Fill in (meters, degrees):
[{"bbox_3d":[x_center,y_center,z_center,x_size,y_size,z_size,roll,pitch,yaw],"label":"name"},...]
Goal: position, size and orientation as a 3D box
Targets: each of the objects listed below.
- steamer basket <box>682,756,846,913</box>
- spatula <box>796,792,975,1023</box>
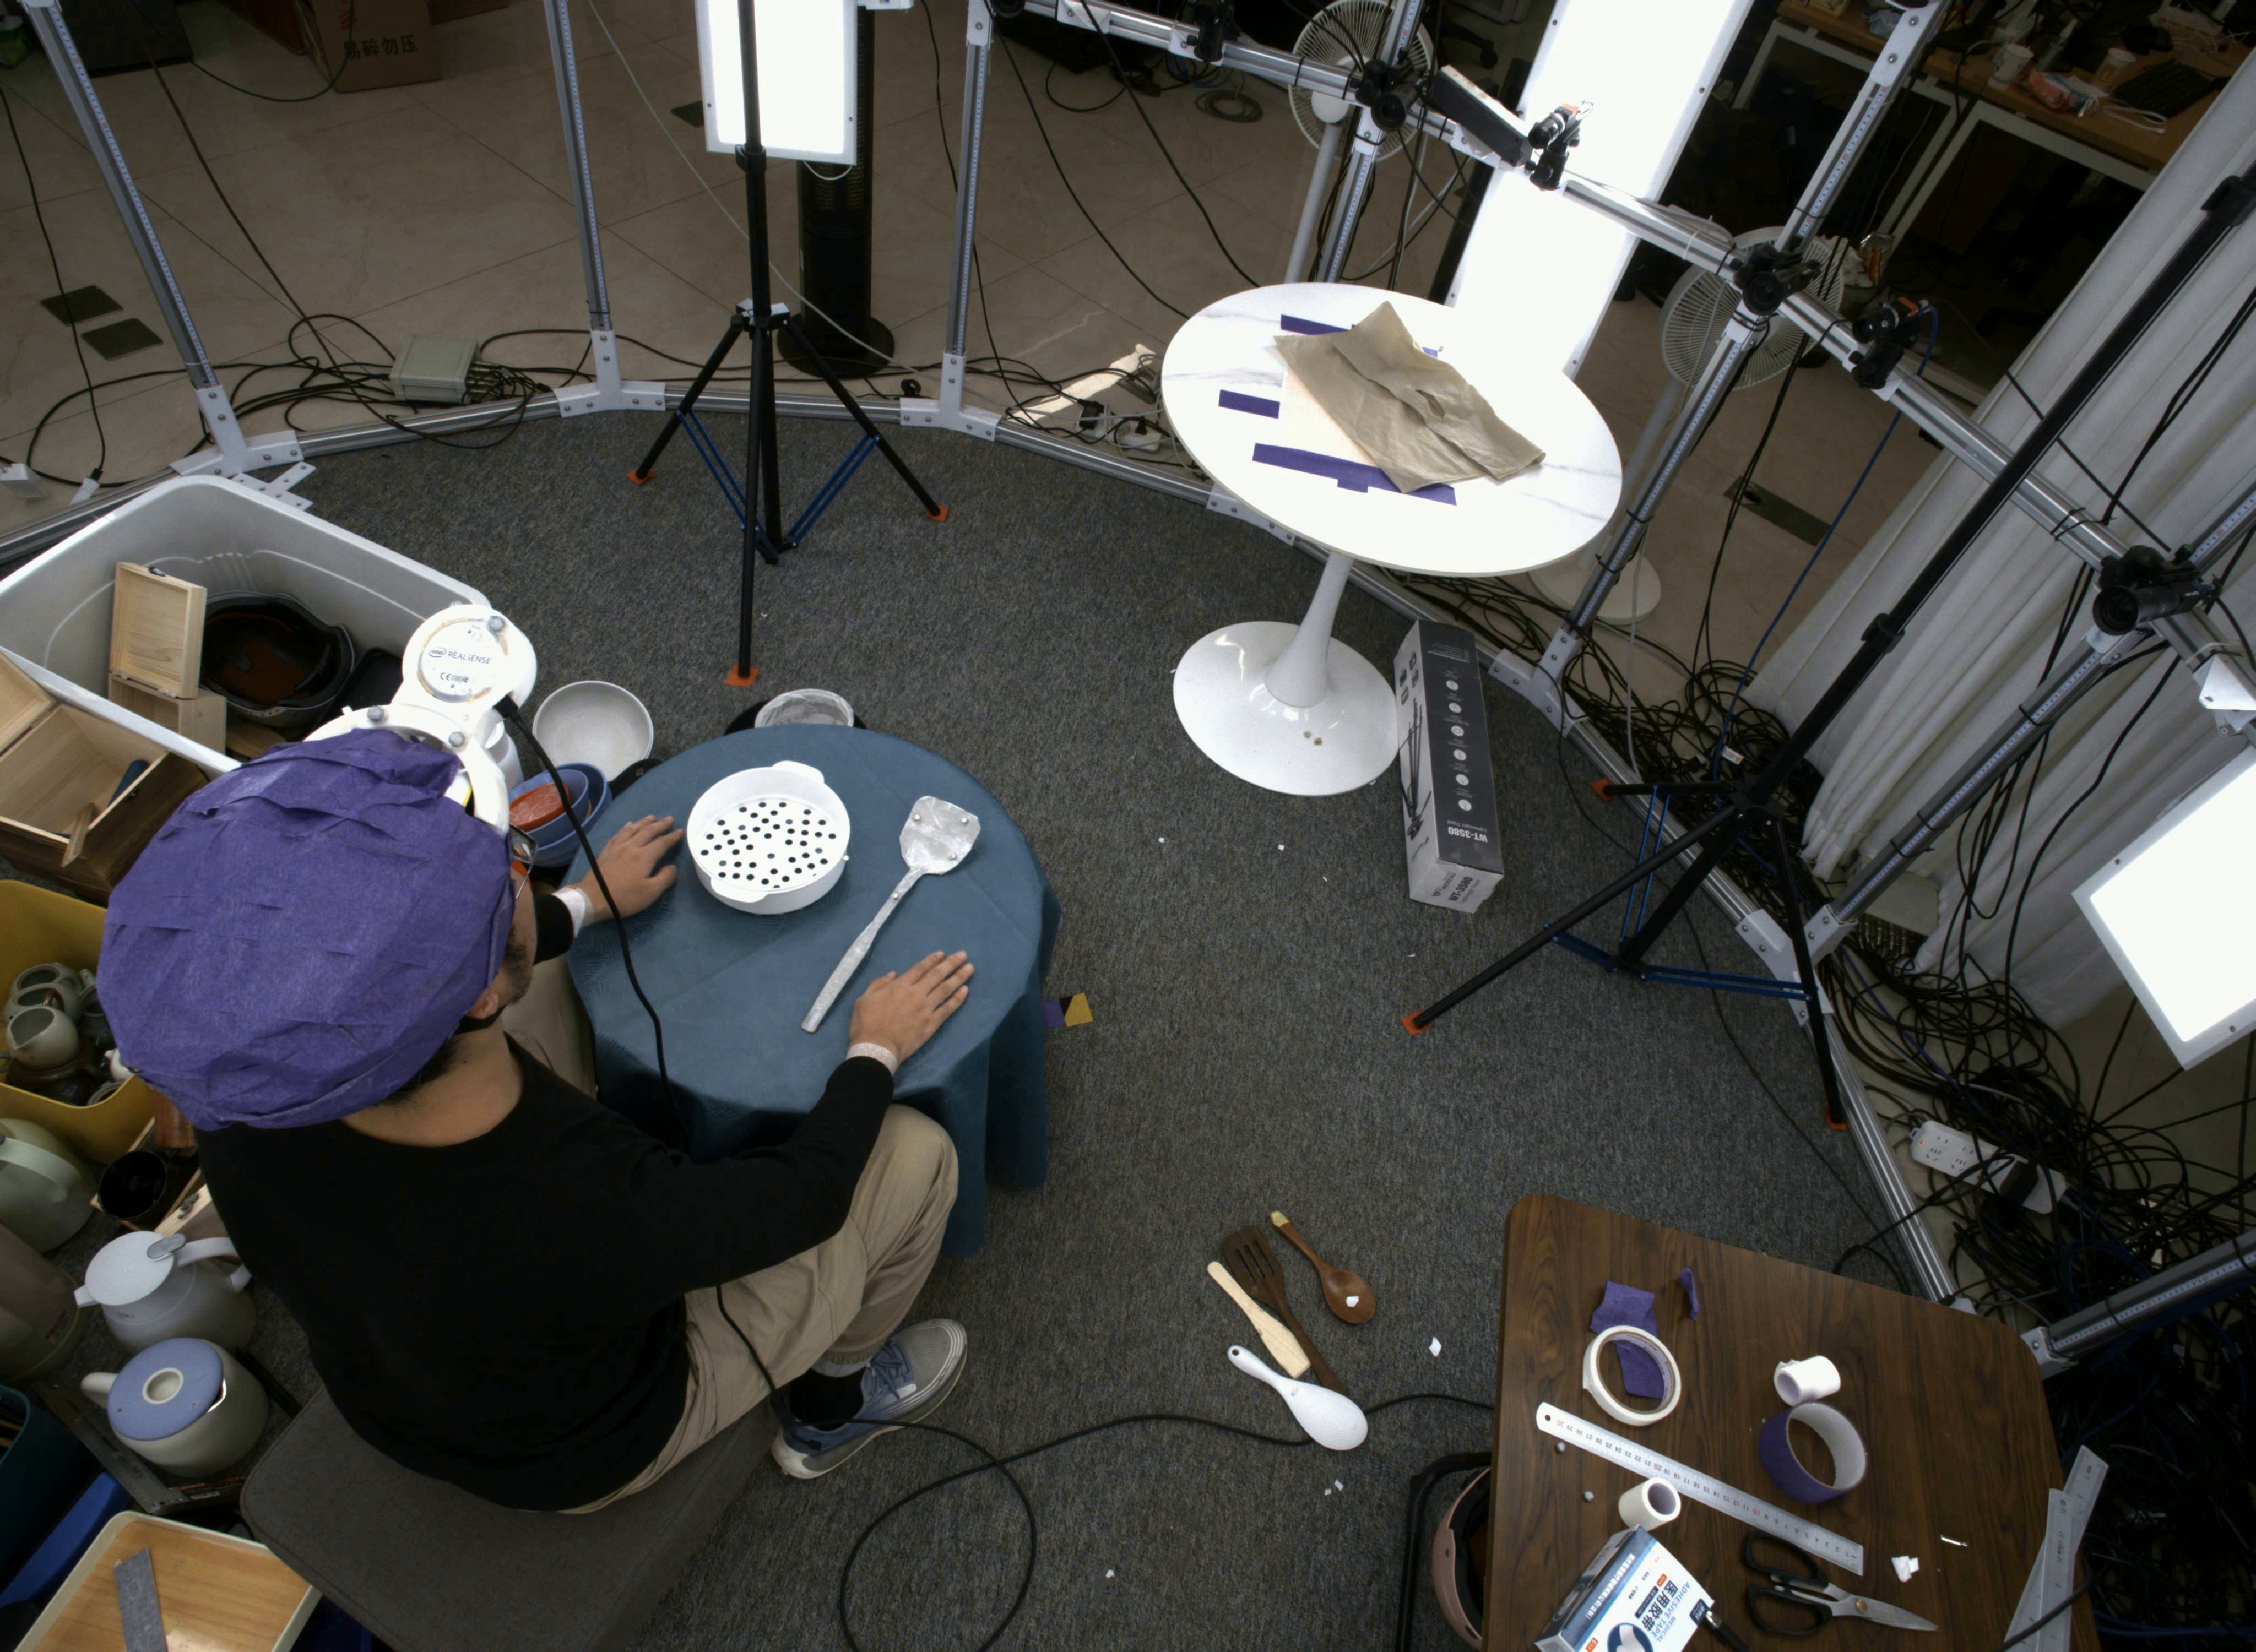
[{"bbox_3d":[-0.462,0.016,1.652,0.200,0.070,0.228,16,52,-1],"label":"steamer basket"},{"bbox_3d":[-0.314,0.101,1.647,0.097,0.045,0.362,27,52,4],"label":"spatula"}]
